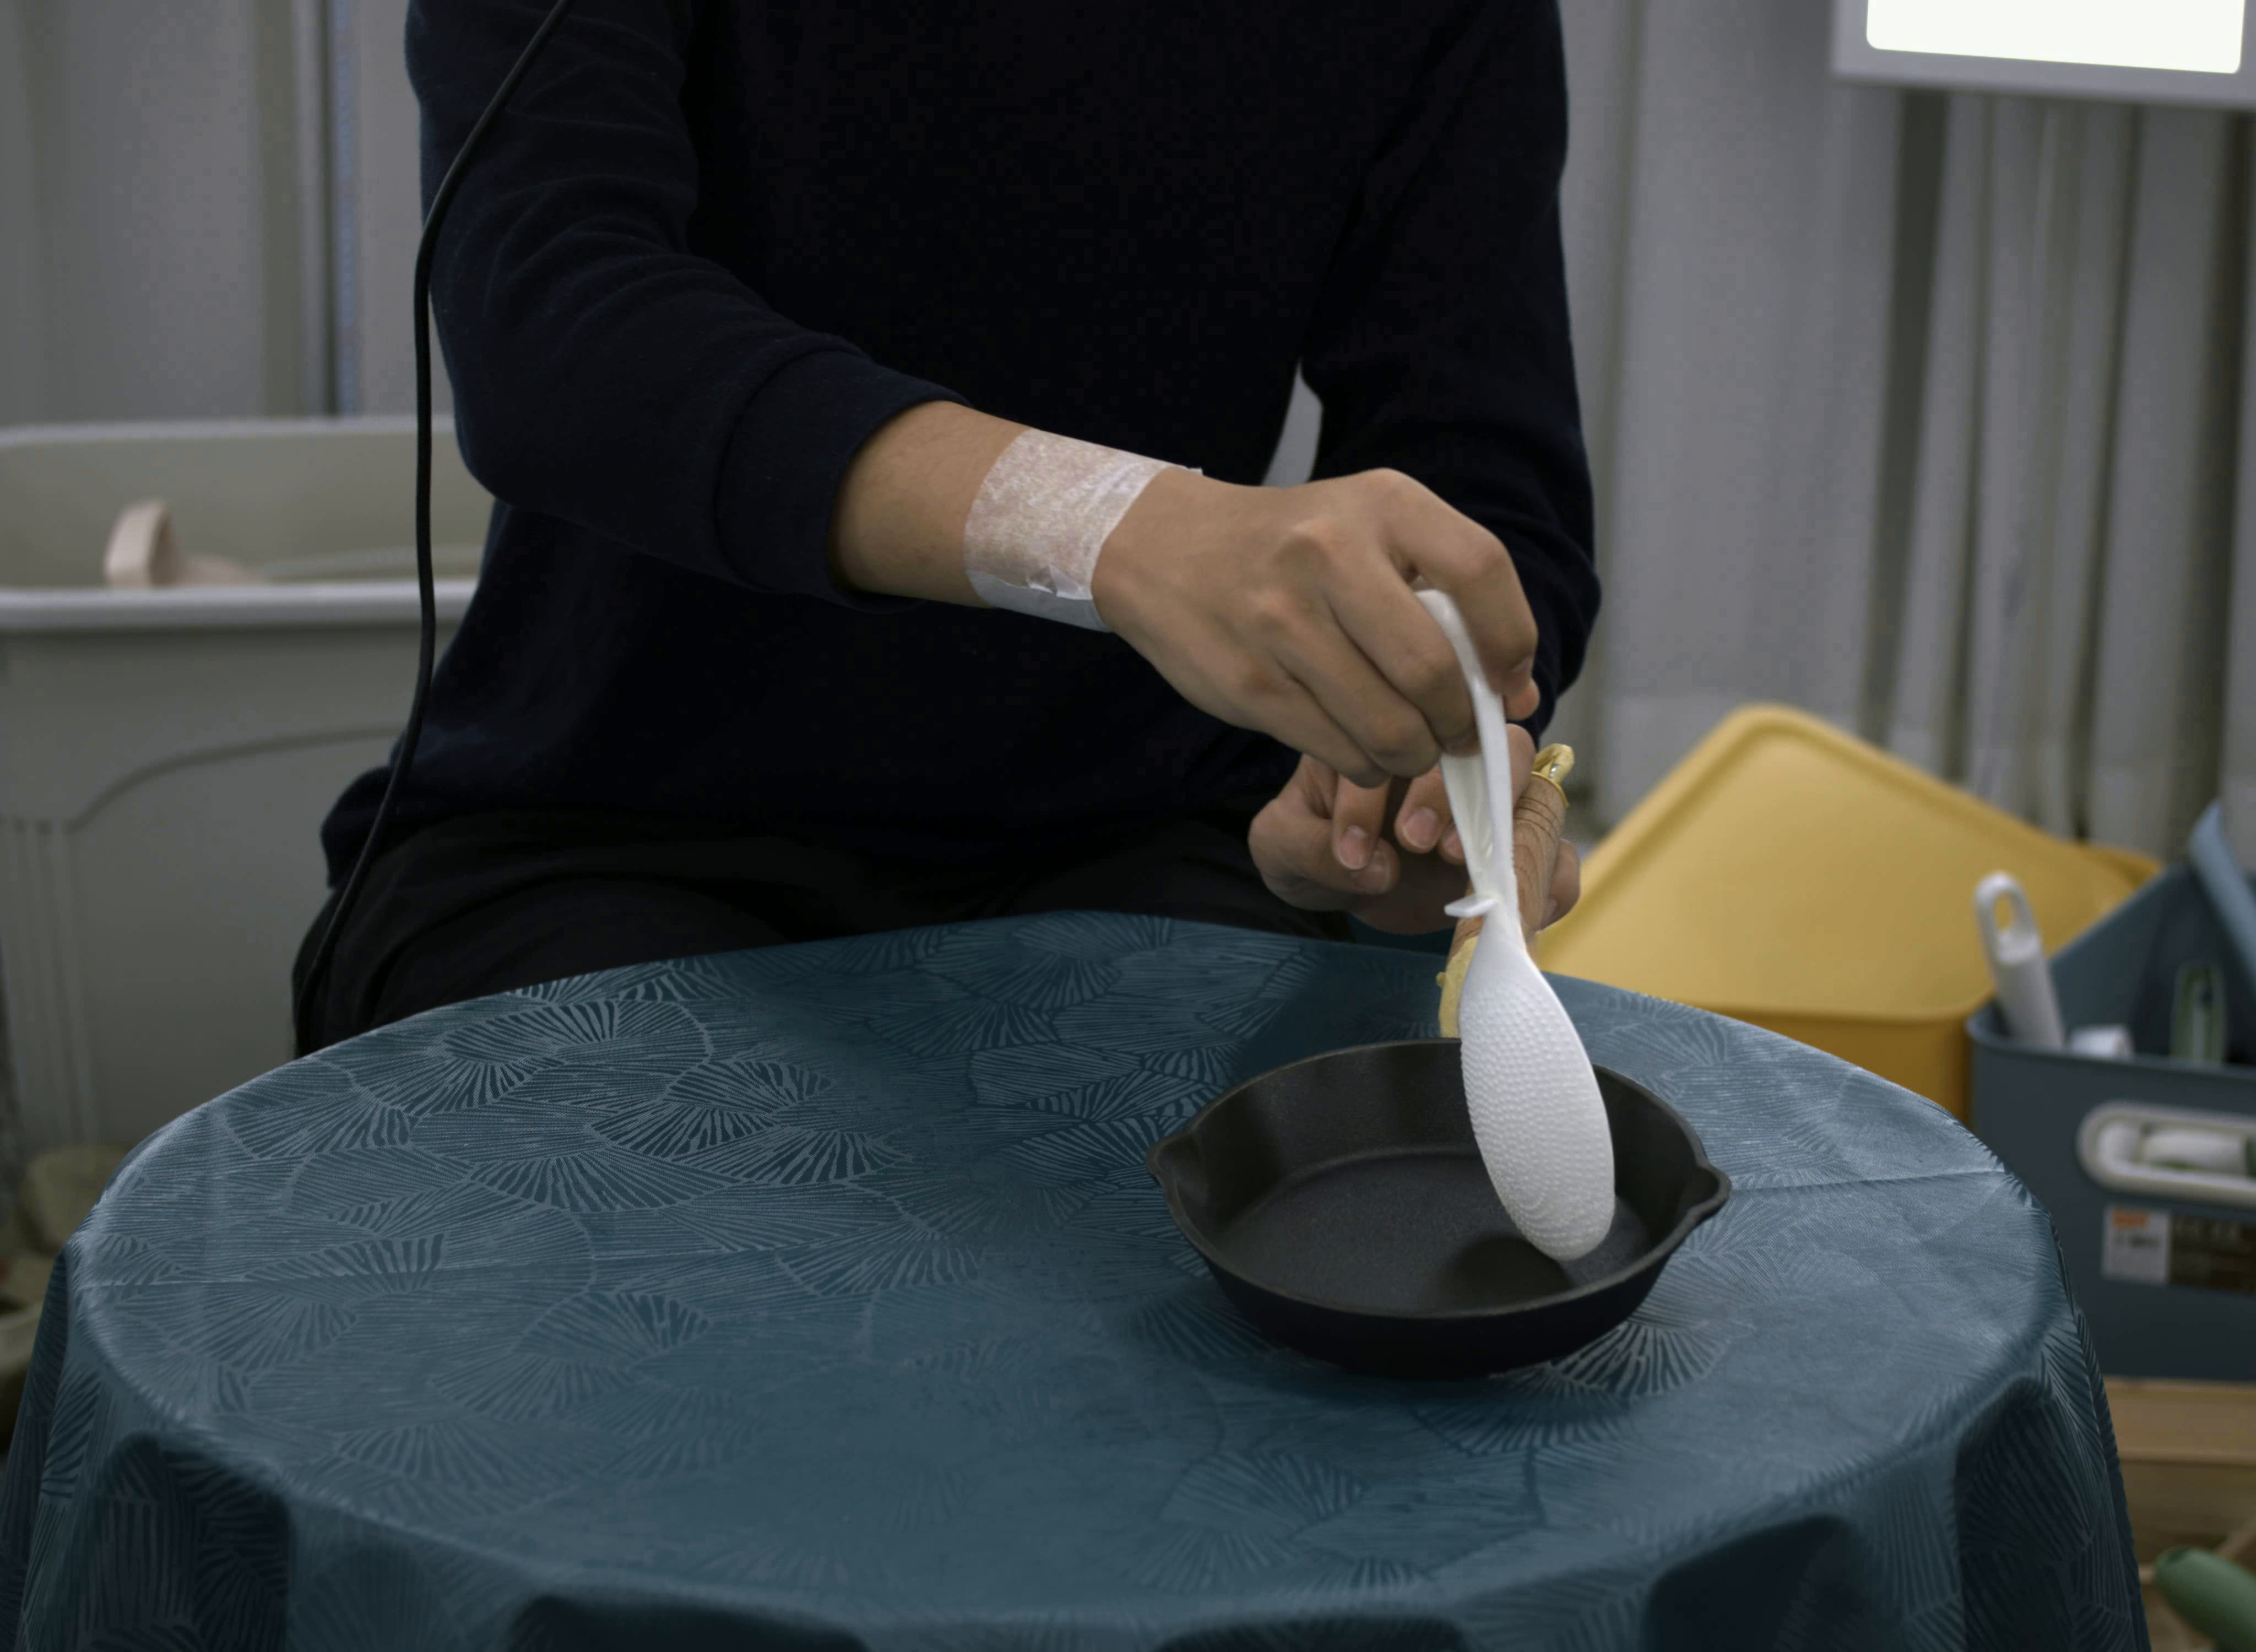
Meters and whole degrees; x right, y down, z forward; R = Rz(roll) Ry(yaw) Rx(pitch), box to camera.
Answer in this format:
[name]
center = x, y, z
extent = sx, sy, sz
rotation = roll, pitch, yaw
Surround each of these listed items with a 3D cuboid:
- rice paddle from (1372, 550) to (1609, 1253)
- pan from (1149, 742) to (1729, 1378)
[rice paddle]
center = 0.105, 0.024, 1.502
extent = 0.029, 0.207, 0.068
rotation = -19, 15, -28
[pan]
center = 0.107, 0.066, 1.589
extent = 0.168, 0.050, 0.322
rotation = 4, 29, 12
